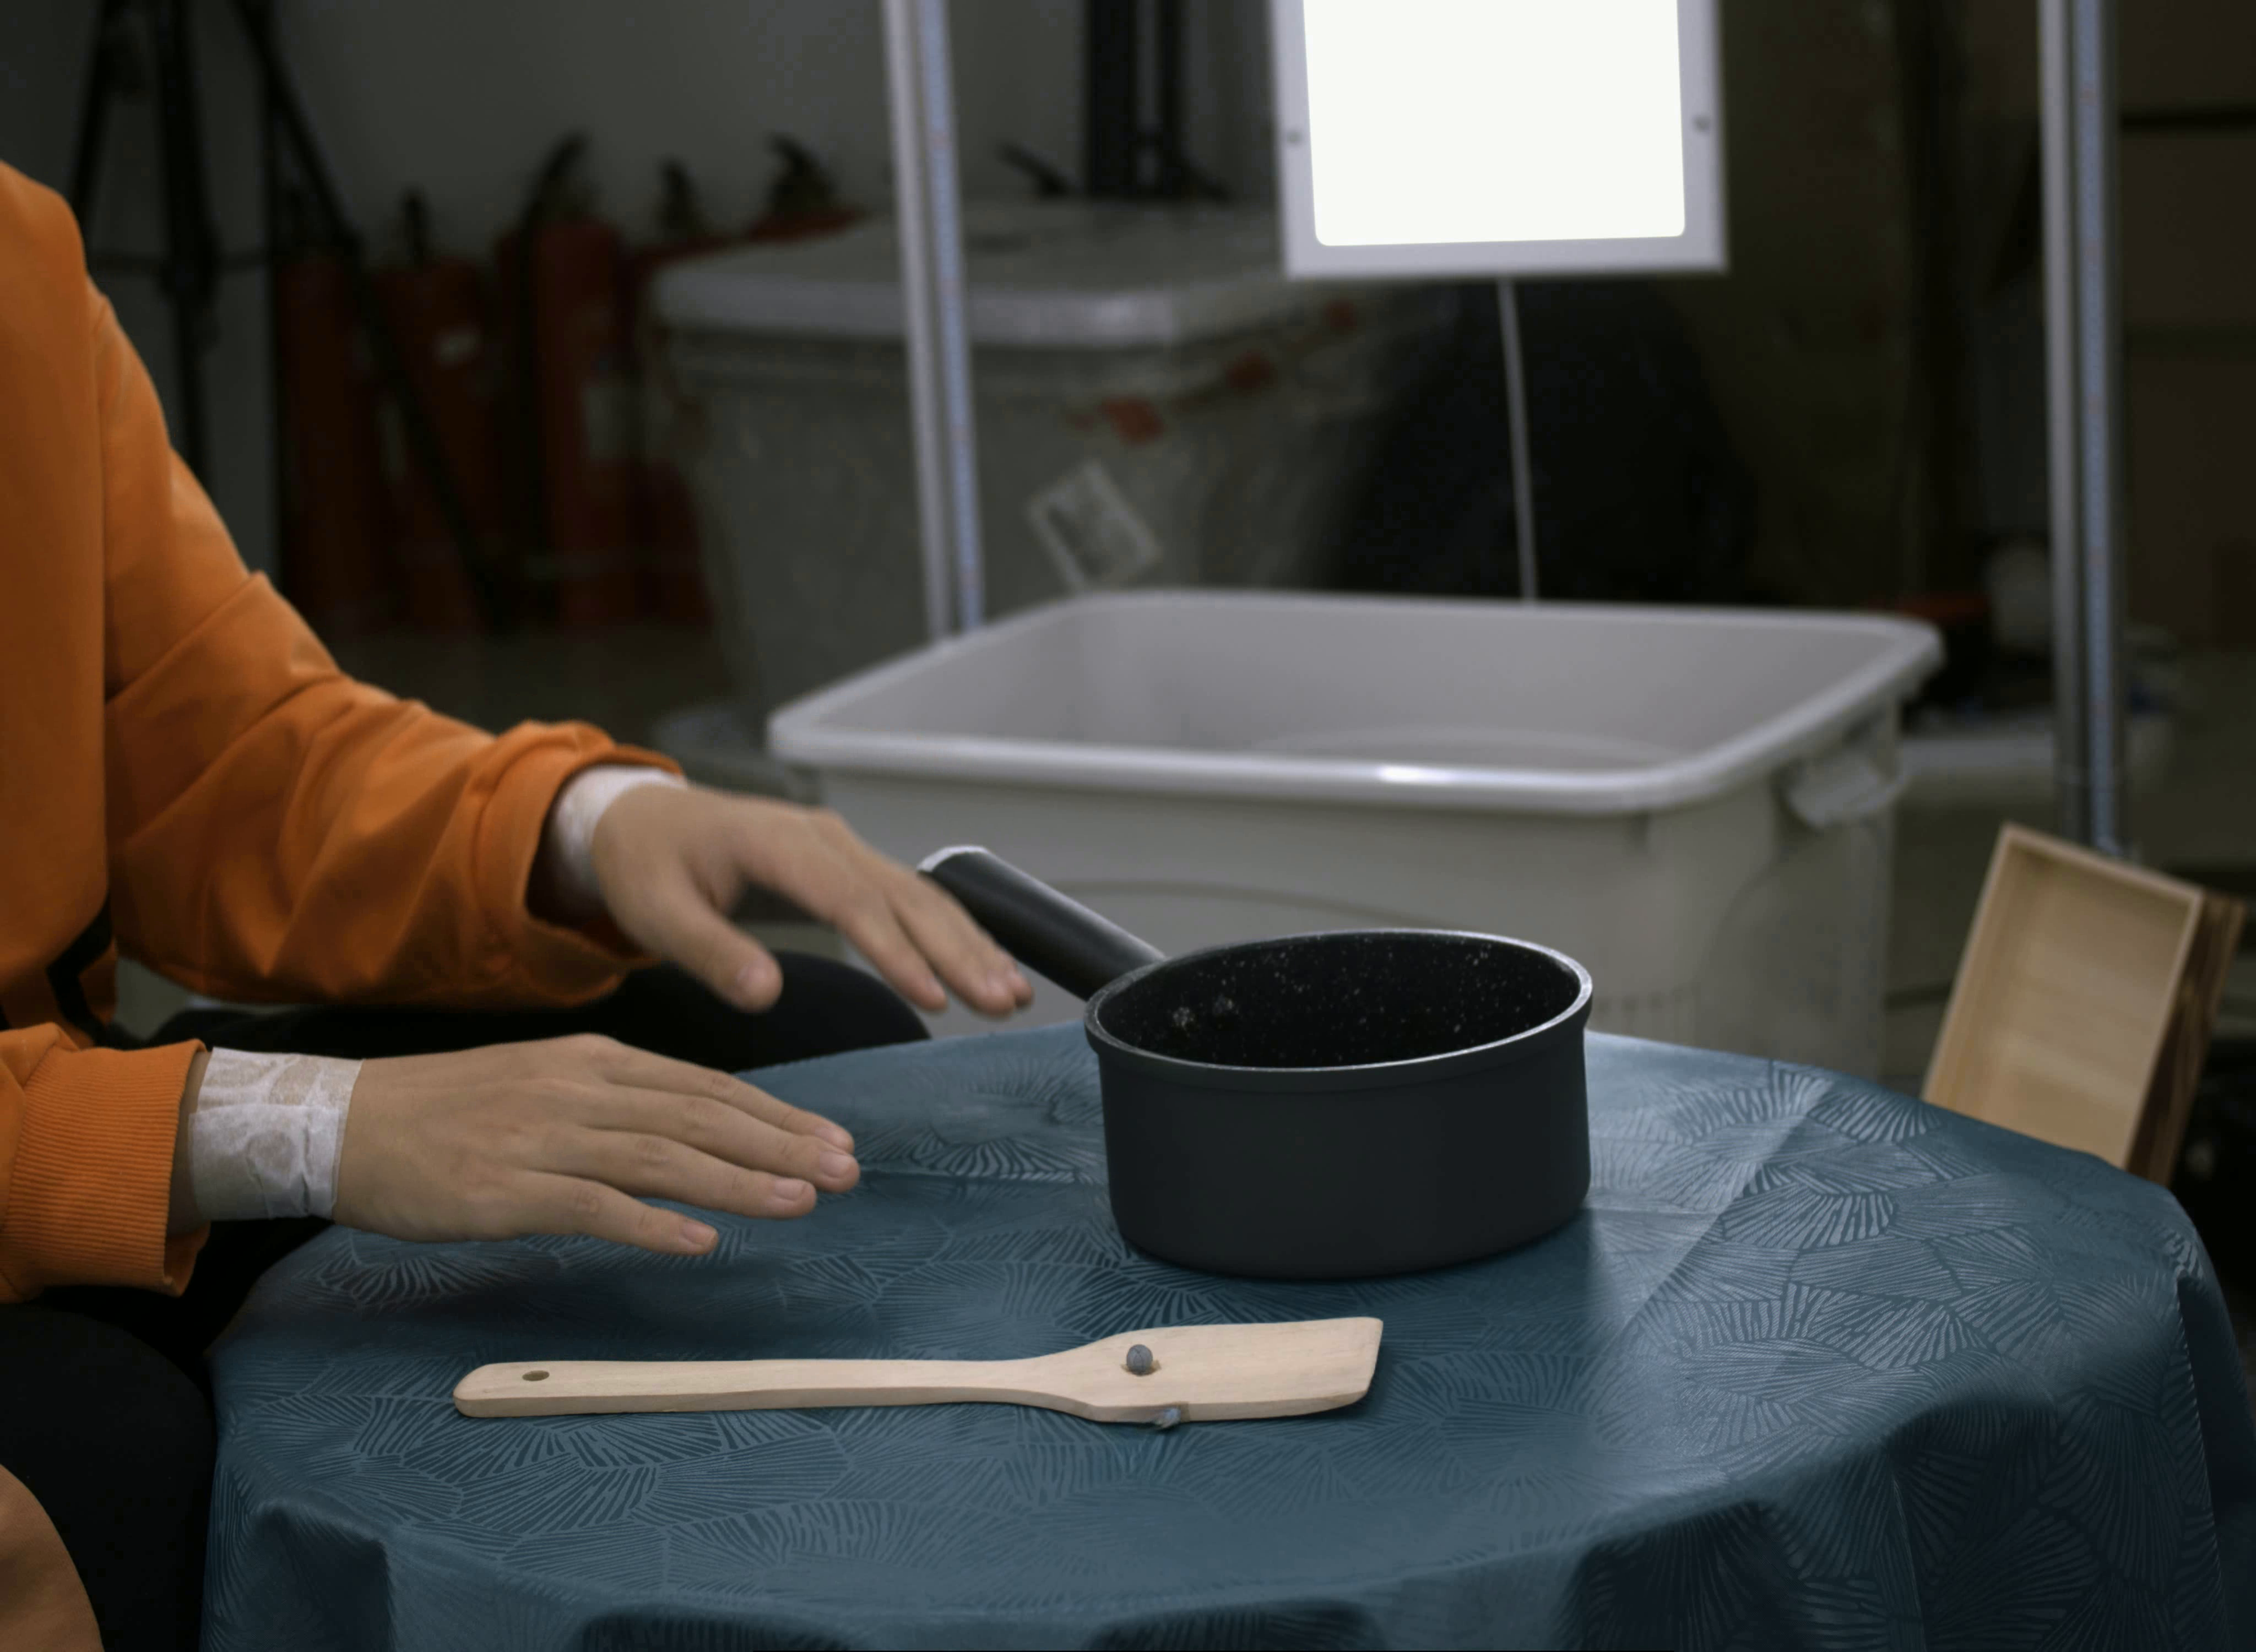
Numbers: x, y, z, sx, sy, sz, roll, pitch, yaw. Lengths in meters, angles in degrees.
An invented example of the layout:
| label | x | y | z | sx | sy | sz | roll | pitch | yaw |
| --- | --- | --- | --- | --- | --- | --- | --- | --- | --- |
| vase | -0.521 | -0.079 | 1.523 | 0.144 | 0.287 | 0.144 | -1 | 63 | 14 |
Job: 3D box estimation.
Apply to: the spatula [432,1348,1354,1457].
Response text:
| label | x | y | z | sx | sy | sz | roll | pitch | yaw |
| --- | --- | --- | --- | --- | --- | --- | --- | --- | --- |
| spatula | -0.077 | 0.177 | 1.716 | 0.295 | 0.011 | 0.071 | 0 | 18 | 14 |

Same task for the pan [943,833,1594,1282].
| label | x | y | z | sx | sy | sz | roll | pitch | yaw |
| --- | --- | --- | --- | --- | --- | --- | --- | --- | --- |
| pan | 0.030 | 0.076 | 1.915 | 0.168 | 0.087 | 0.335 | -12 | 17 | -29 |
